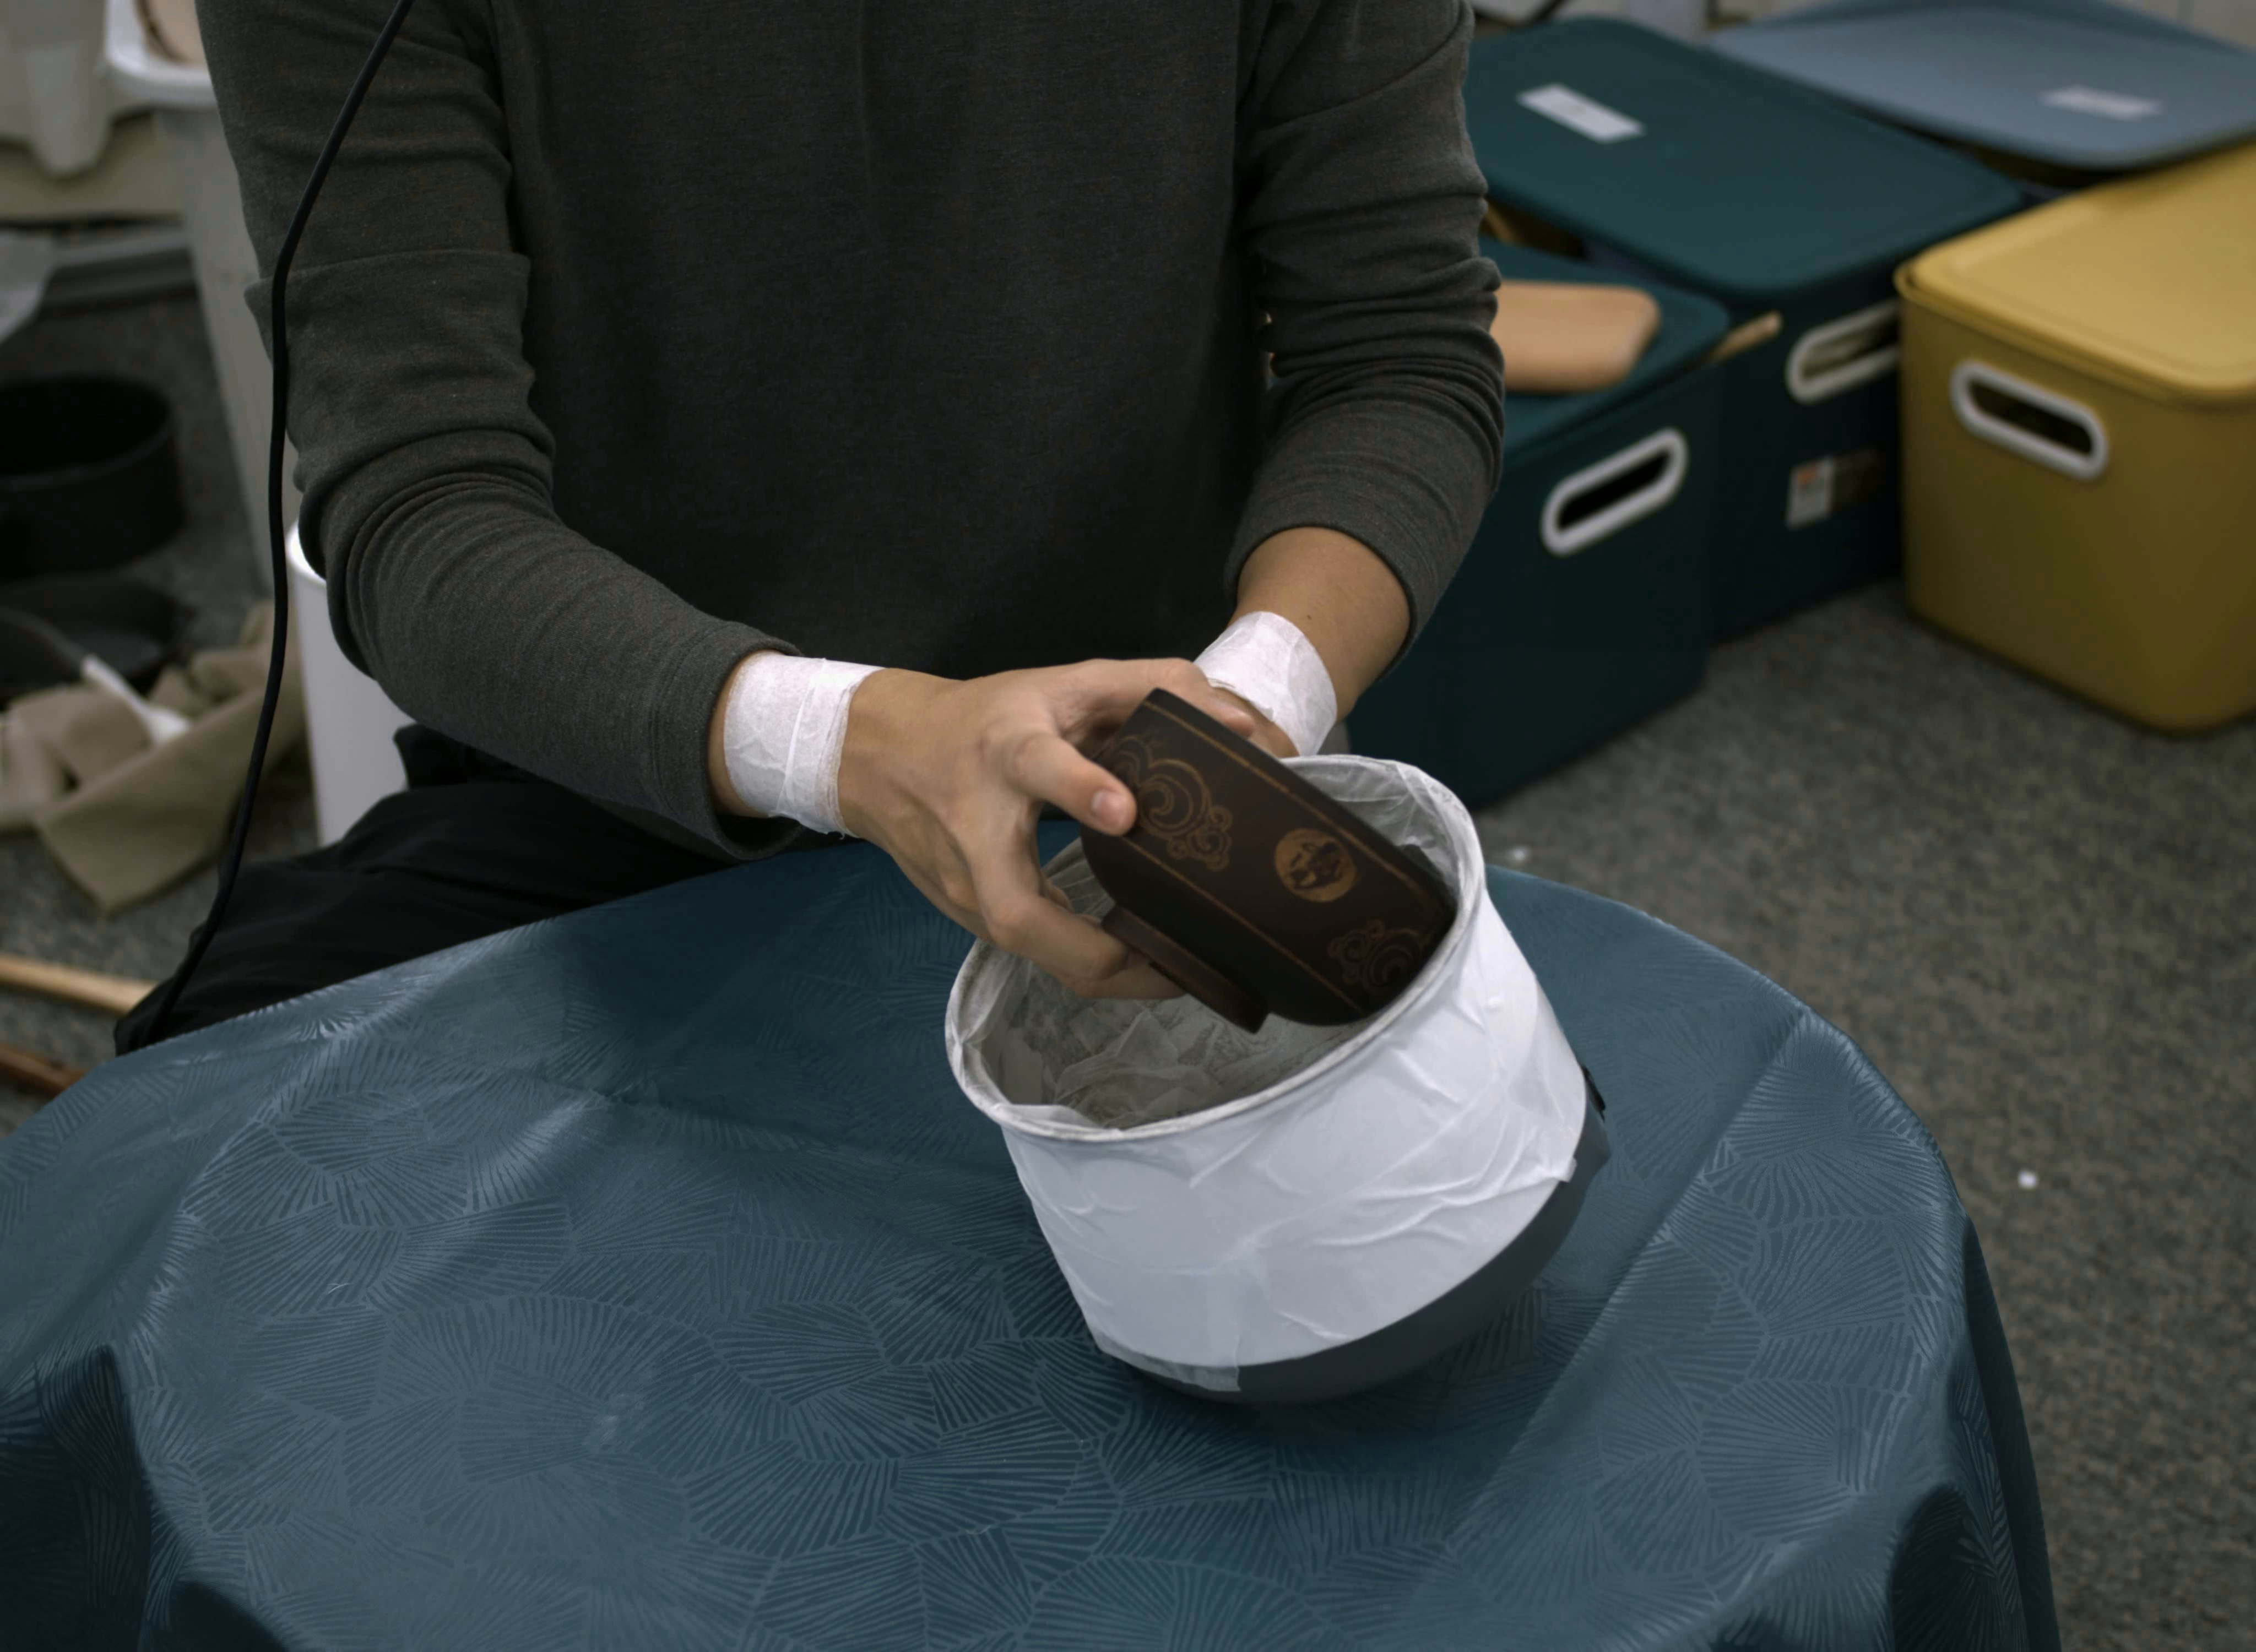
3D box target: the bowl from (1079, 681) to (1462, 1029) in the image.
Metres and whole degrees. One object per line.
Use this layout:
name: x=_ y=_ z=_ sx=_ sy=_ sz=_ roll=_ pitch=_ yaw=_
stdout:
bowl: x=0.035 y=0.017 z=1.689 sx=0.118 sy=0.117 sz=0.070 roll=30 pitch=83 yaw=46

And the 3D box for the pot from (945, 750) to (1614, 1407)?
pot: x=0.043 y=0.069 z=1.773 sx=0.178 sy=0.135 sz=0.236 roll=-25 pitch=31 yaw=1
